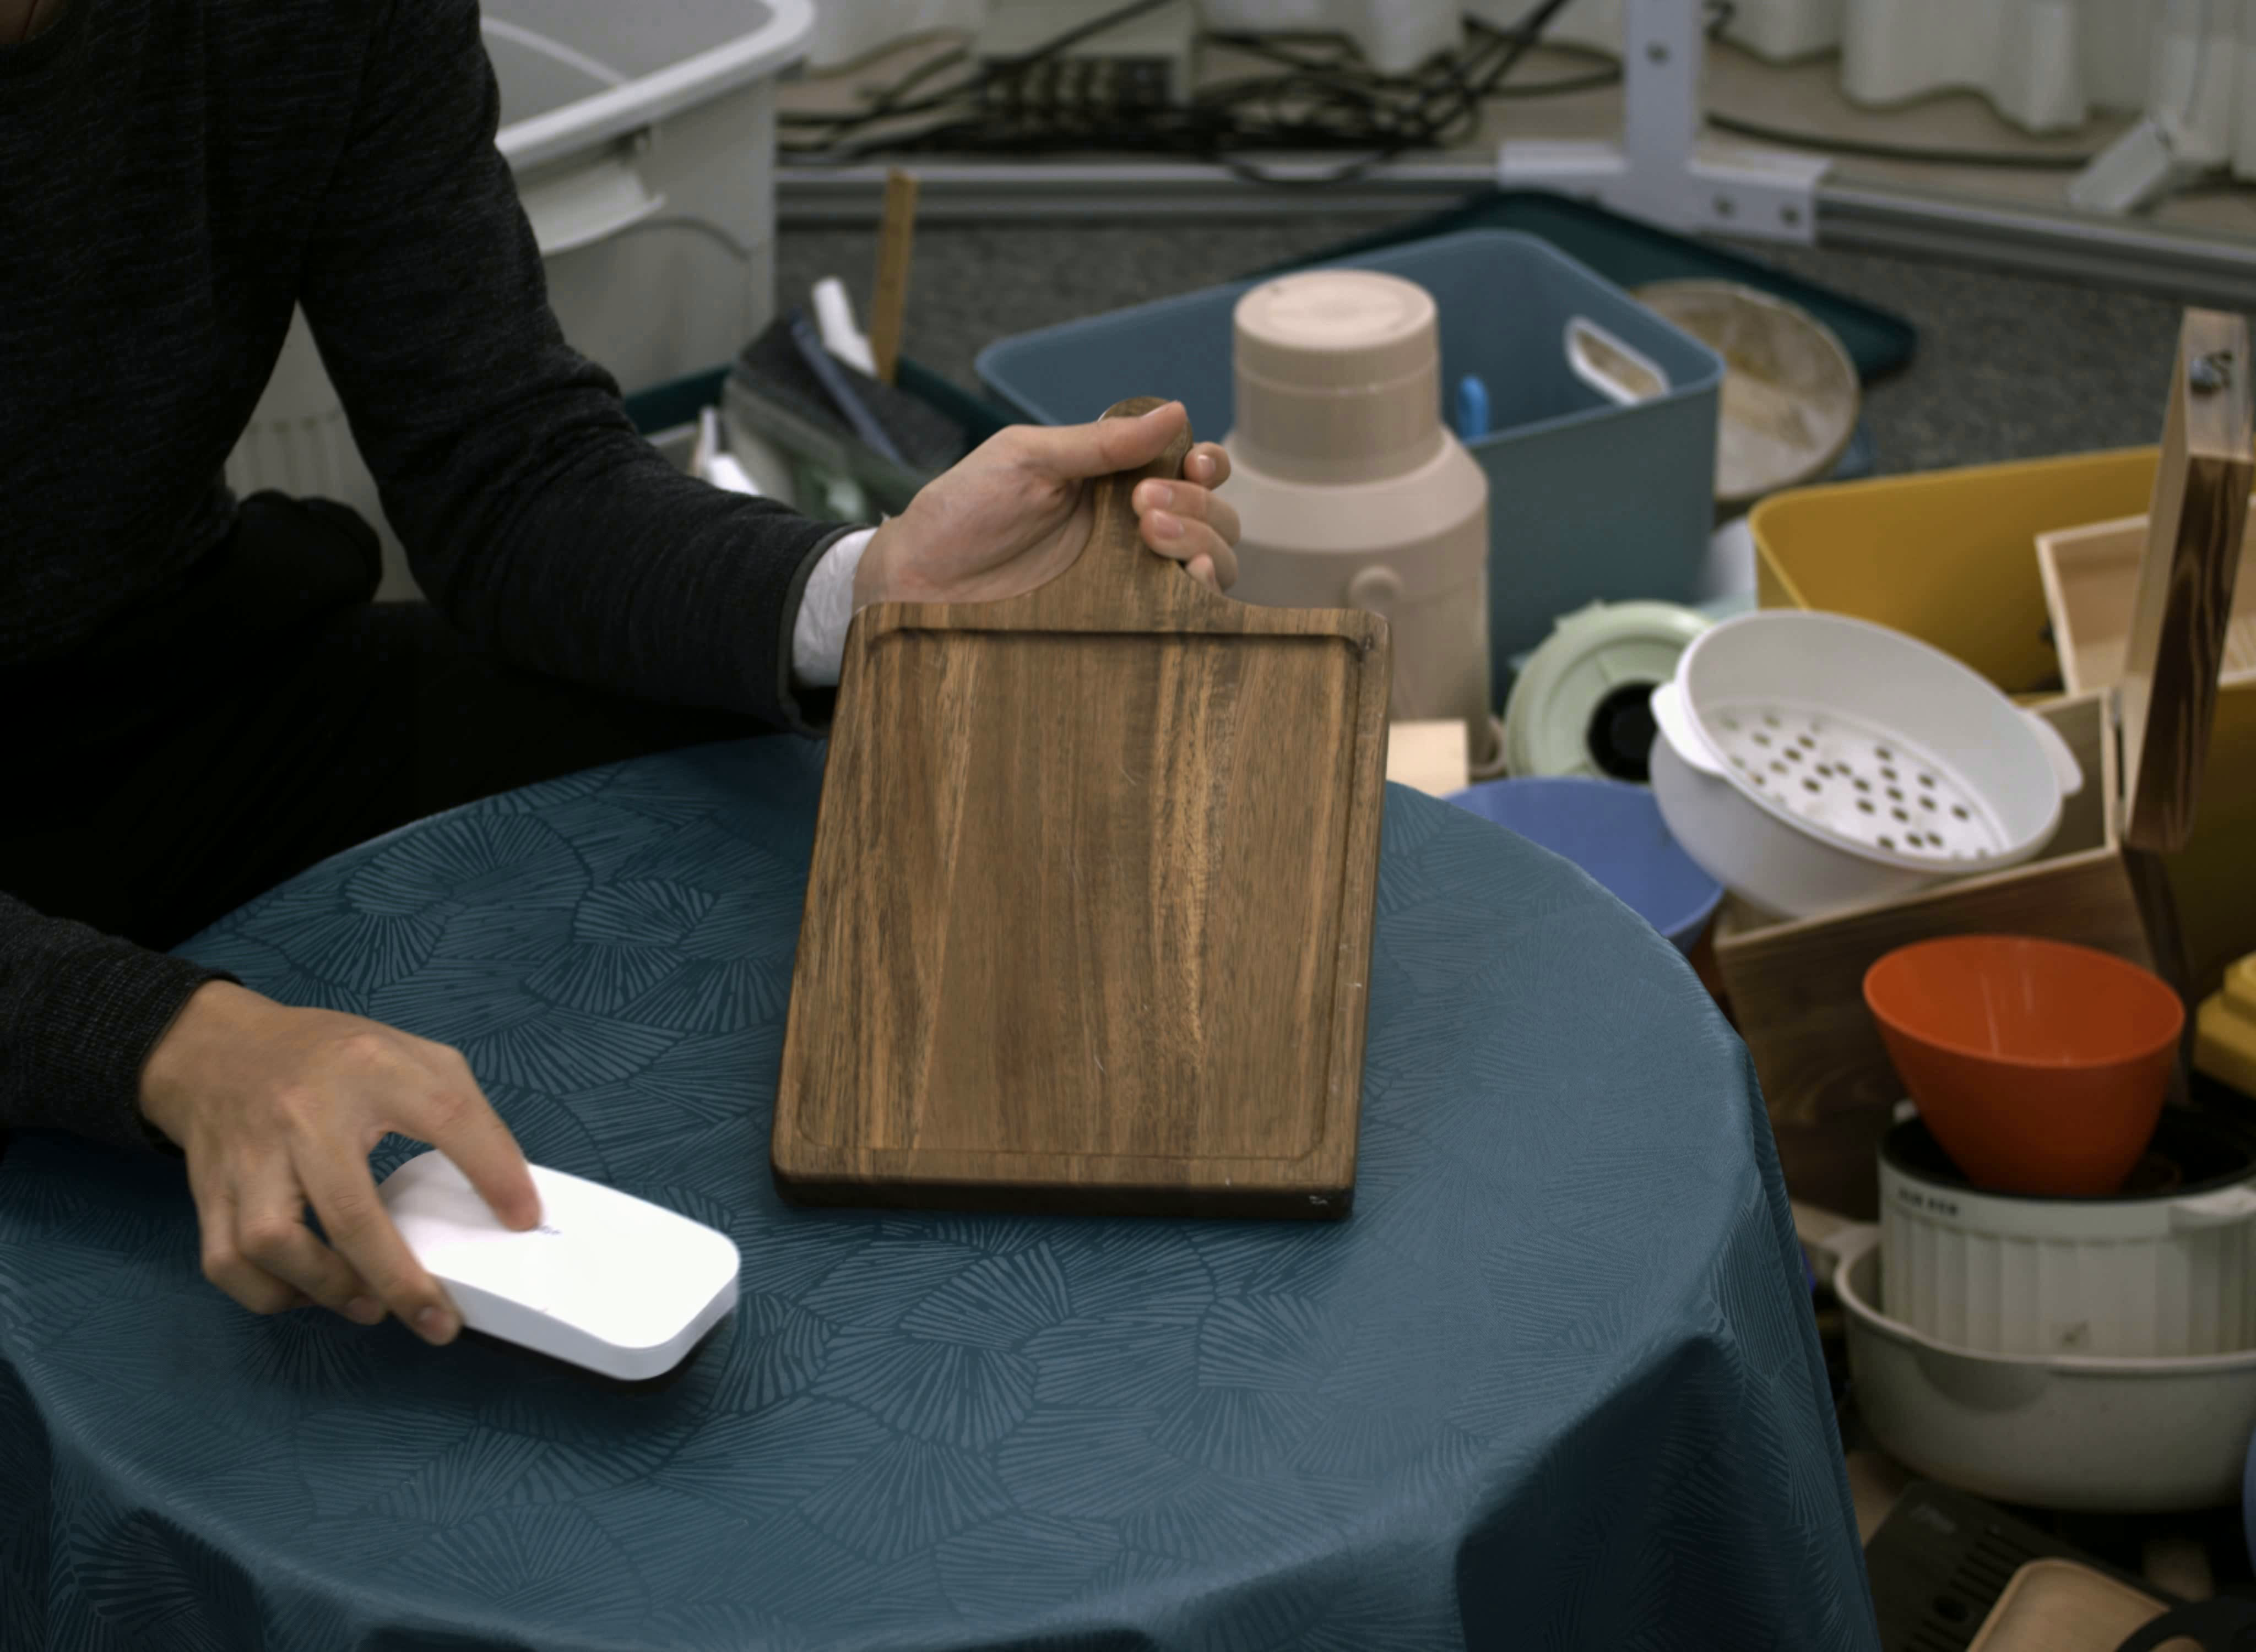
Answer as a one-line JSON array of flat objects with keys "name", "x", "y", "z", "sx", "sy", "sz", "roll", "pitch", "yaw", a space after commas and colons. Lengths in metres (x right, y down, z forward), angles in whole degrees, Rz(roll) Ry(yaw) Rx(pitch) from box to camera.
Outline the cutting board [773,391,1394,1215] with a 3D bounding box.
[{"name": "cutting board", "x": -0.008, "y": -0.015, "z": 1.955, "sx": 0.200, "sy": 0.023, "sz": 0.359, "roll": 1, "pitch": 51, "yaw": 6}]

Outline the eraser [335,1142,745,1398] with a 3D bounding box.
[{"name": "eraser", "x": -0.185, "y": 0.137, "z": 1.772, "sx": 0.131, "sy": 0.034, "sz": 0.064, "roll": 17, "pitch": 39, "yaw": 27}]
